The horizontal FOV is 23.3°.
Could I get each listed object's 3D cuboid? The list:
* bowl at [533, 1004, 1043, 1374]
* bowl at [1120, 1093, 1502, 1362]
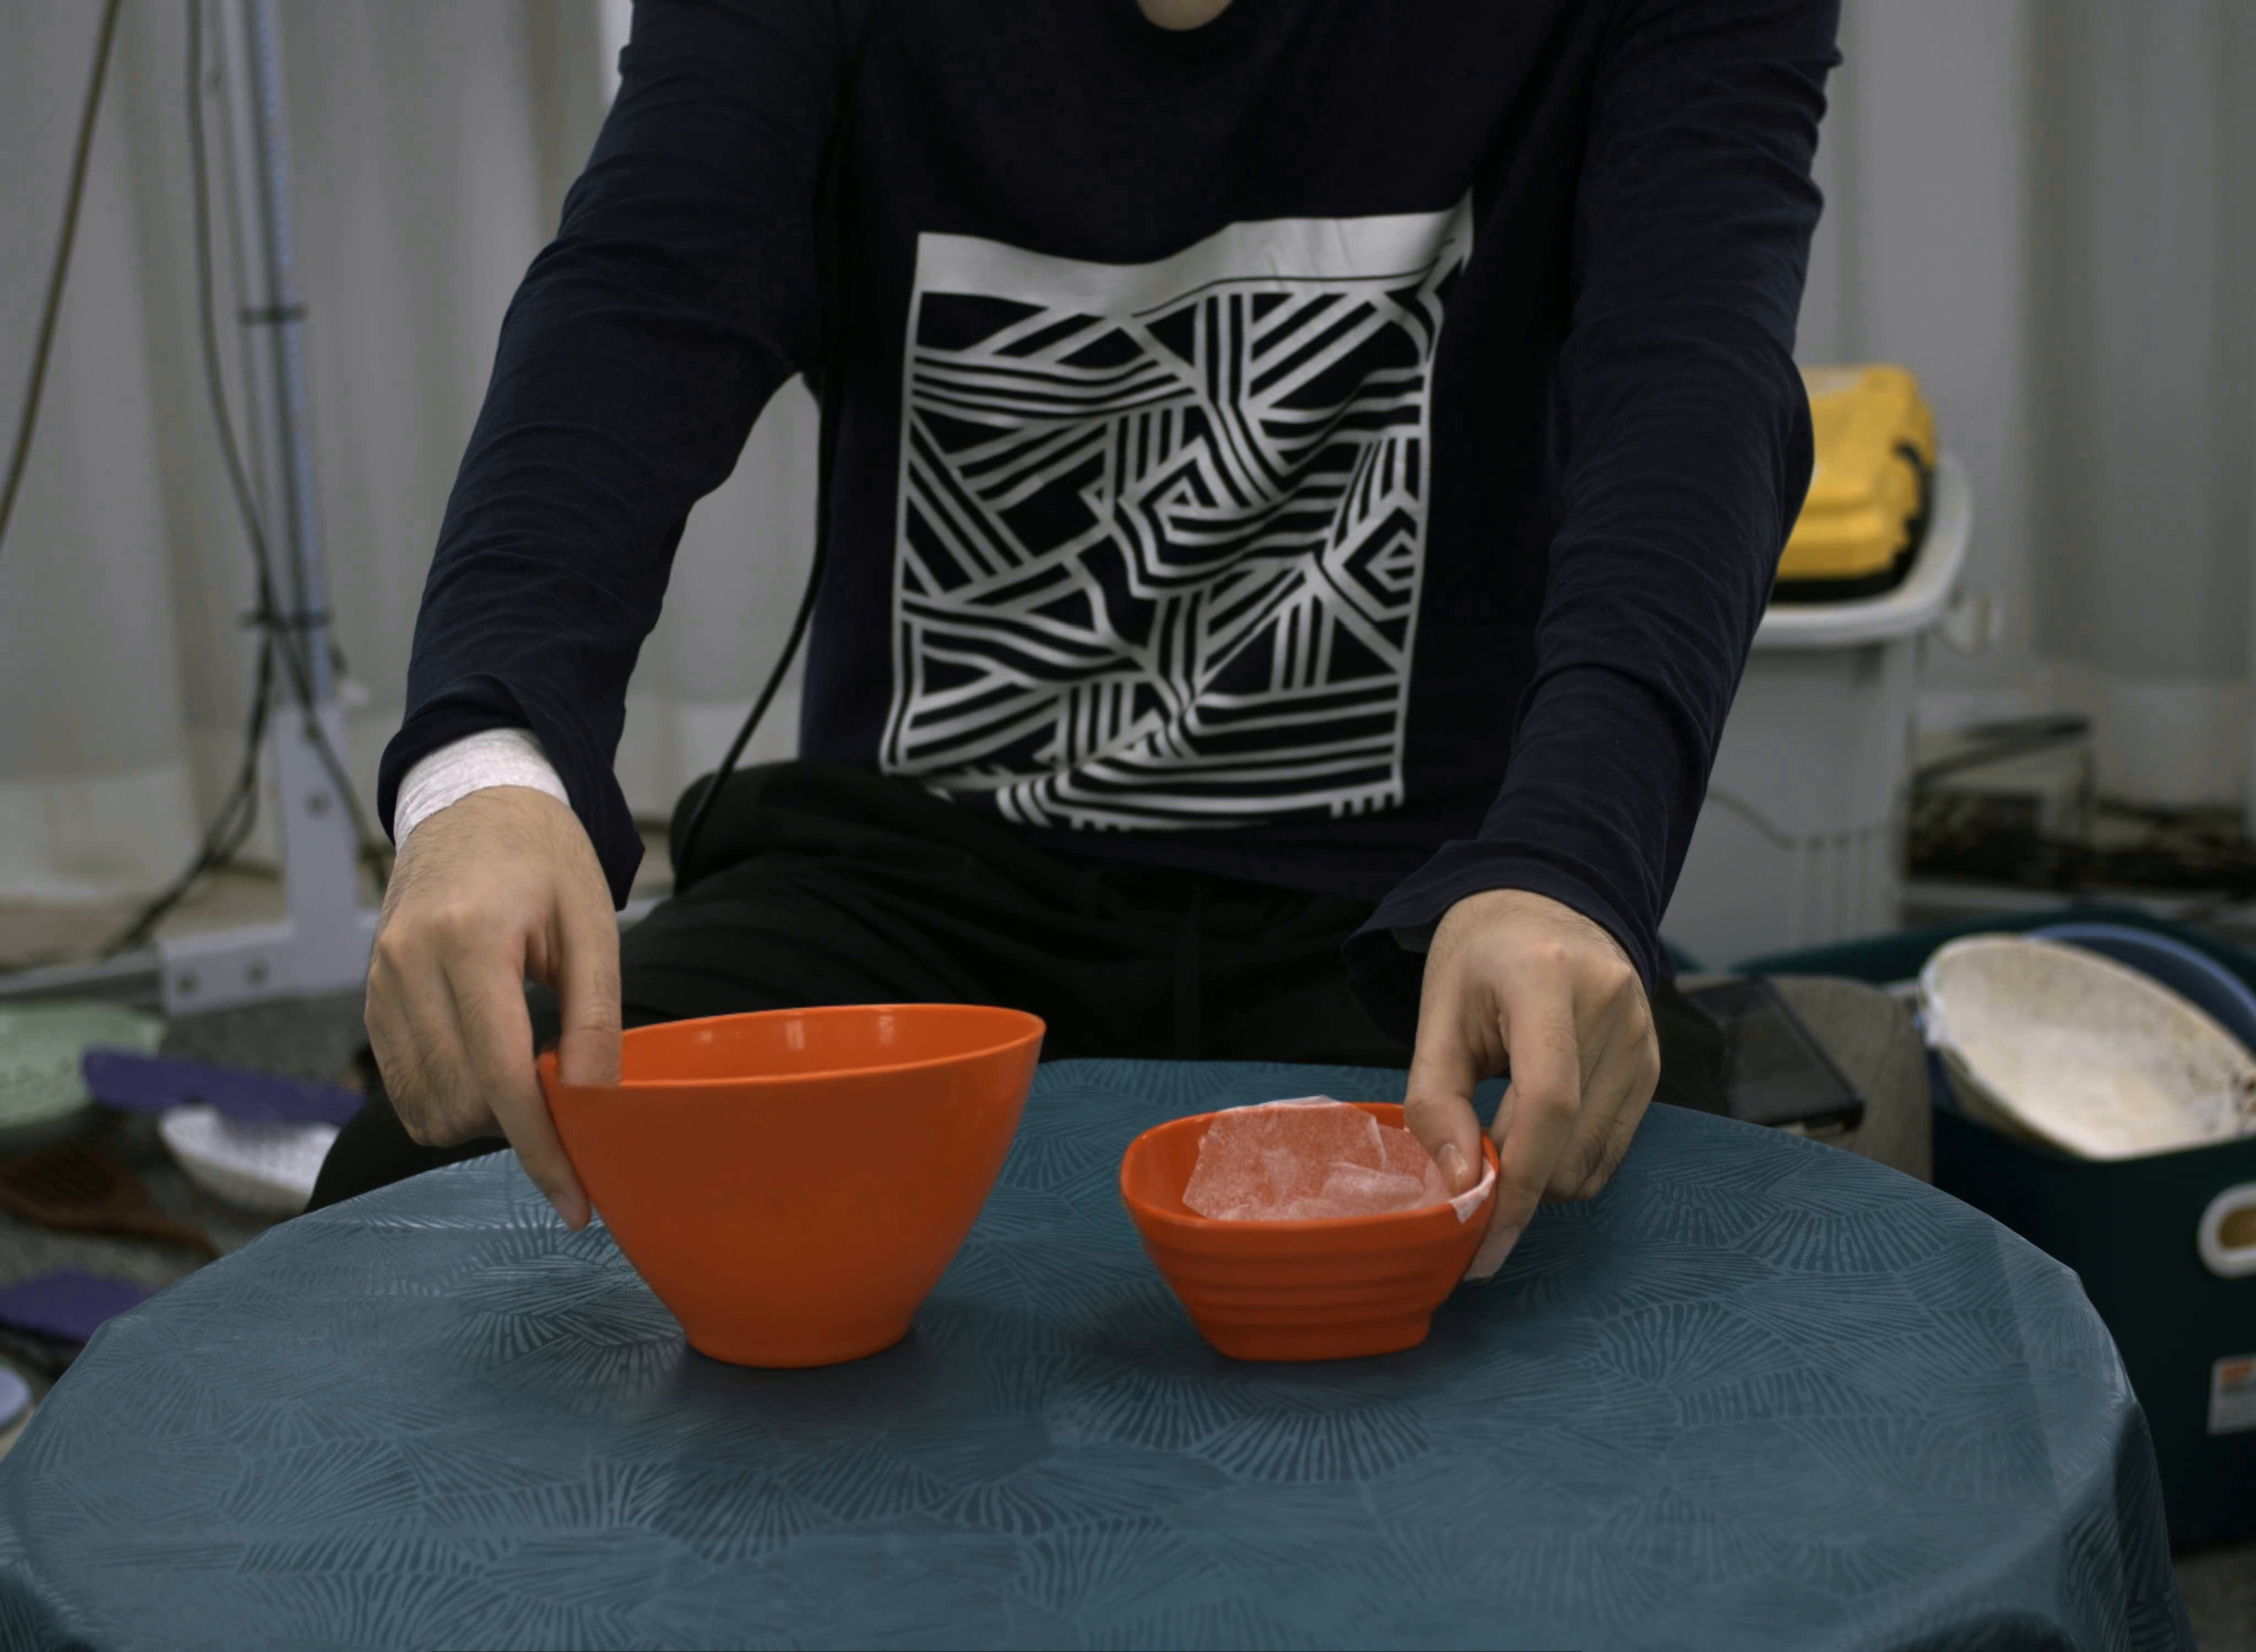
[{"bbox_3d":[-0.096,0.103,1.584,0.147,0.104,0.149,-2,14,0],"label":"bowl"},{"bbox_3d":[0.054,0.119,1.588,0.118,0.051,0.120,-4,16,1],"label":"bowl"}]
